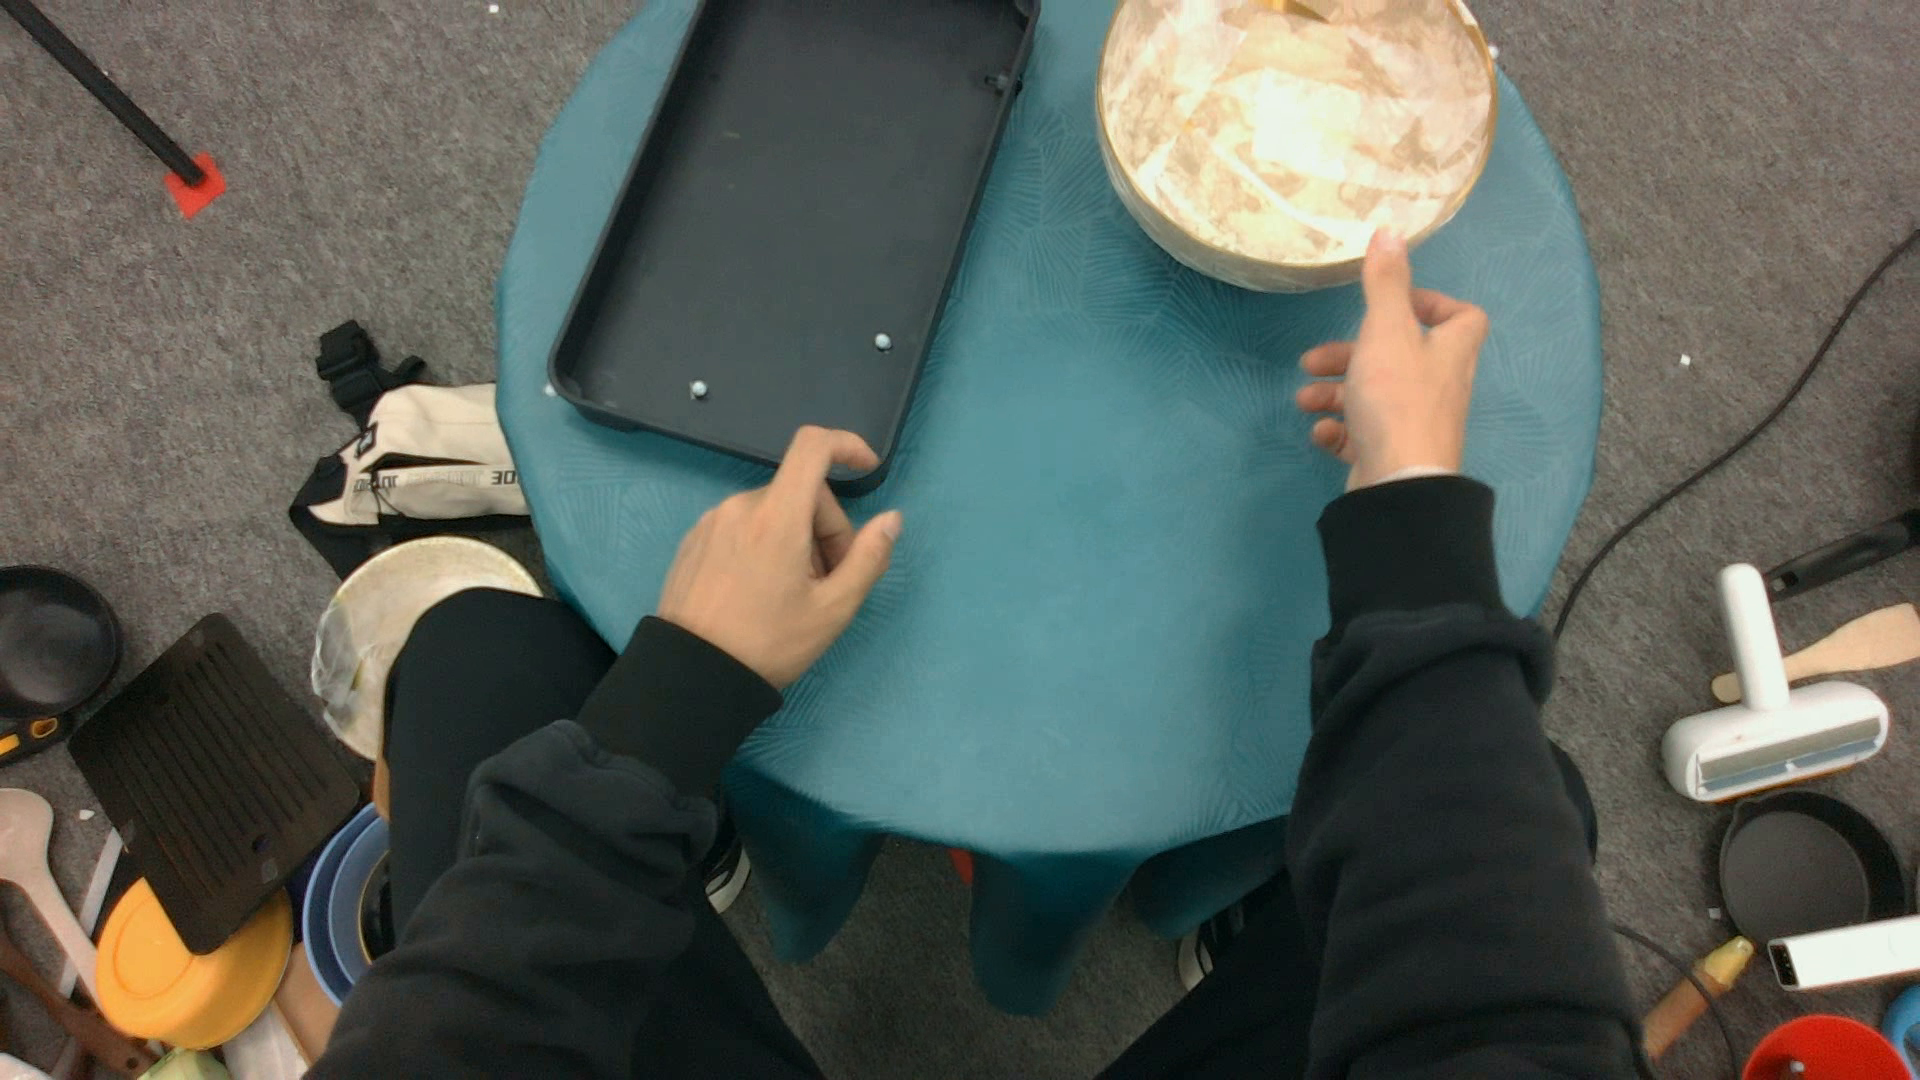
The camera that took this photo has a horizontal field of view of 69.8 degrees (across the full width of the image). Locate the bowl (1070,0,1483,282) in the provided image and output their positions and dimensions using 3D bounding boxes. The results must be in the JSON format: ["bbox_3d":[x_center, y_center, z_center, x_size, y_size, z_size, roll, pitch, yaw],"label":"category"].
[{"bbox_3d":[0.156,-0.217,0.733,0.215,0.094,0.215,1,73,-2],"label":"bowl"}]

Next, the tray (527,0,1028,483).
[{"bbox_3d":[-0.092,-0.198,0.750,0.184,0.037,0.319,18,74,3],"label":"tray"}]
